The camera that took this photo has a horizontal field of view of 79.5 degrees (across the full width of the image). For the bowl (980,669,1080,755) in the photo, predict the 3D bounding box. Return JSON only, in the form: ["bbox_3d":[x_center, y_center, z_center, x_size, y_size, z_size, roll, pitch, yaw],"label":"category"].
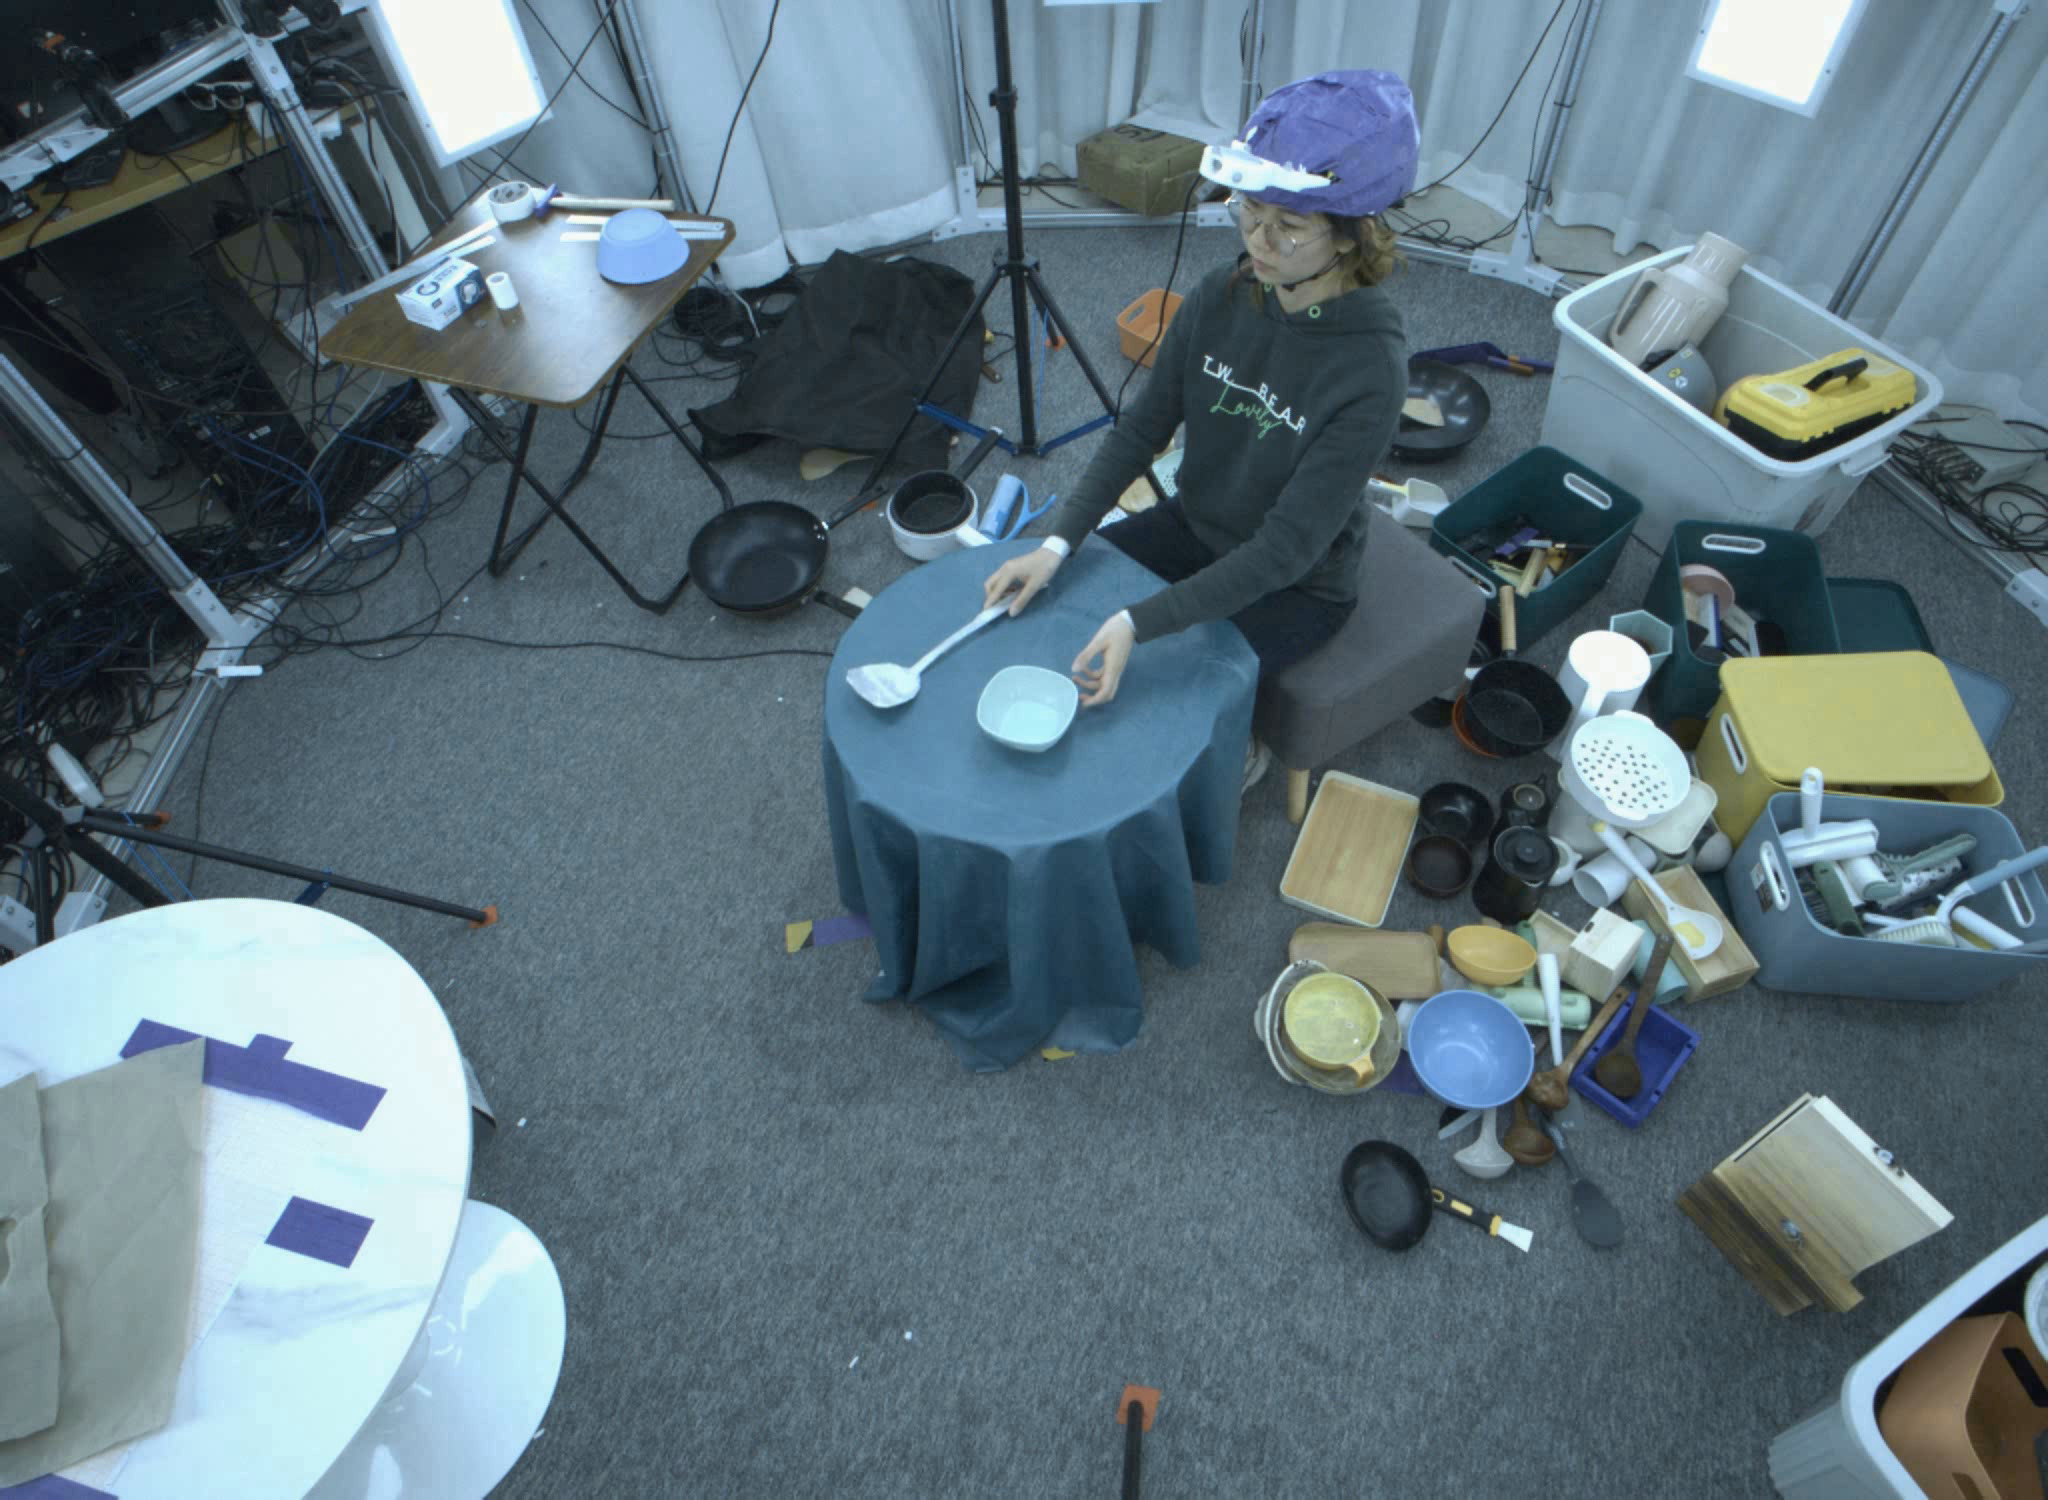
[{"bbox_3d":[0.011,-0.045,1.796,0.151,0.059,0.150,-1,57,3],"label":"bowl"}]

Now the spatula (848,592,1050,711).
[{"bbox_3d":[-0.105,-0.167,1.895,0.367,0.045,0.097,-36,61,-21],"label":"spatula"}]
